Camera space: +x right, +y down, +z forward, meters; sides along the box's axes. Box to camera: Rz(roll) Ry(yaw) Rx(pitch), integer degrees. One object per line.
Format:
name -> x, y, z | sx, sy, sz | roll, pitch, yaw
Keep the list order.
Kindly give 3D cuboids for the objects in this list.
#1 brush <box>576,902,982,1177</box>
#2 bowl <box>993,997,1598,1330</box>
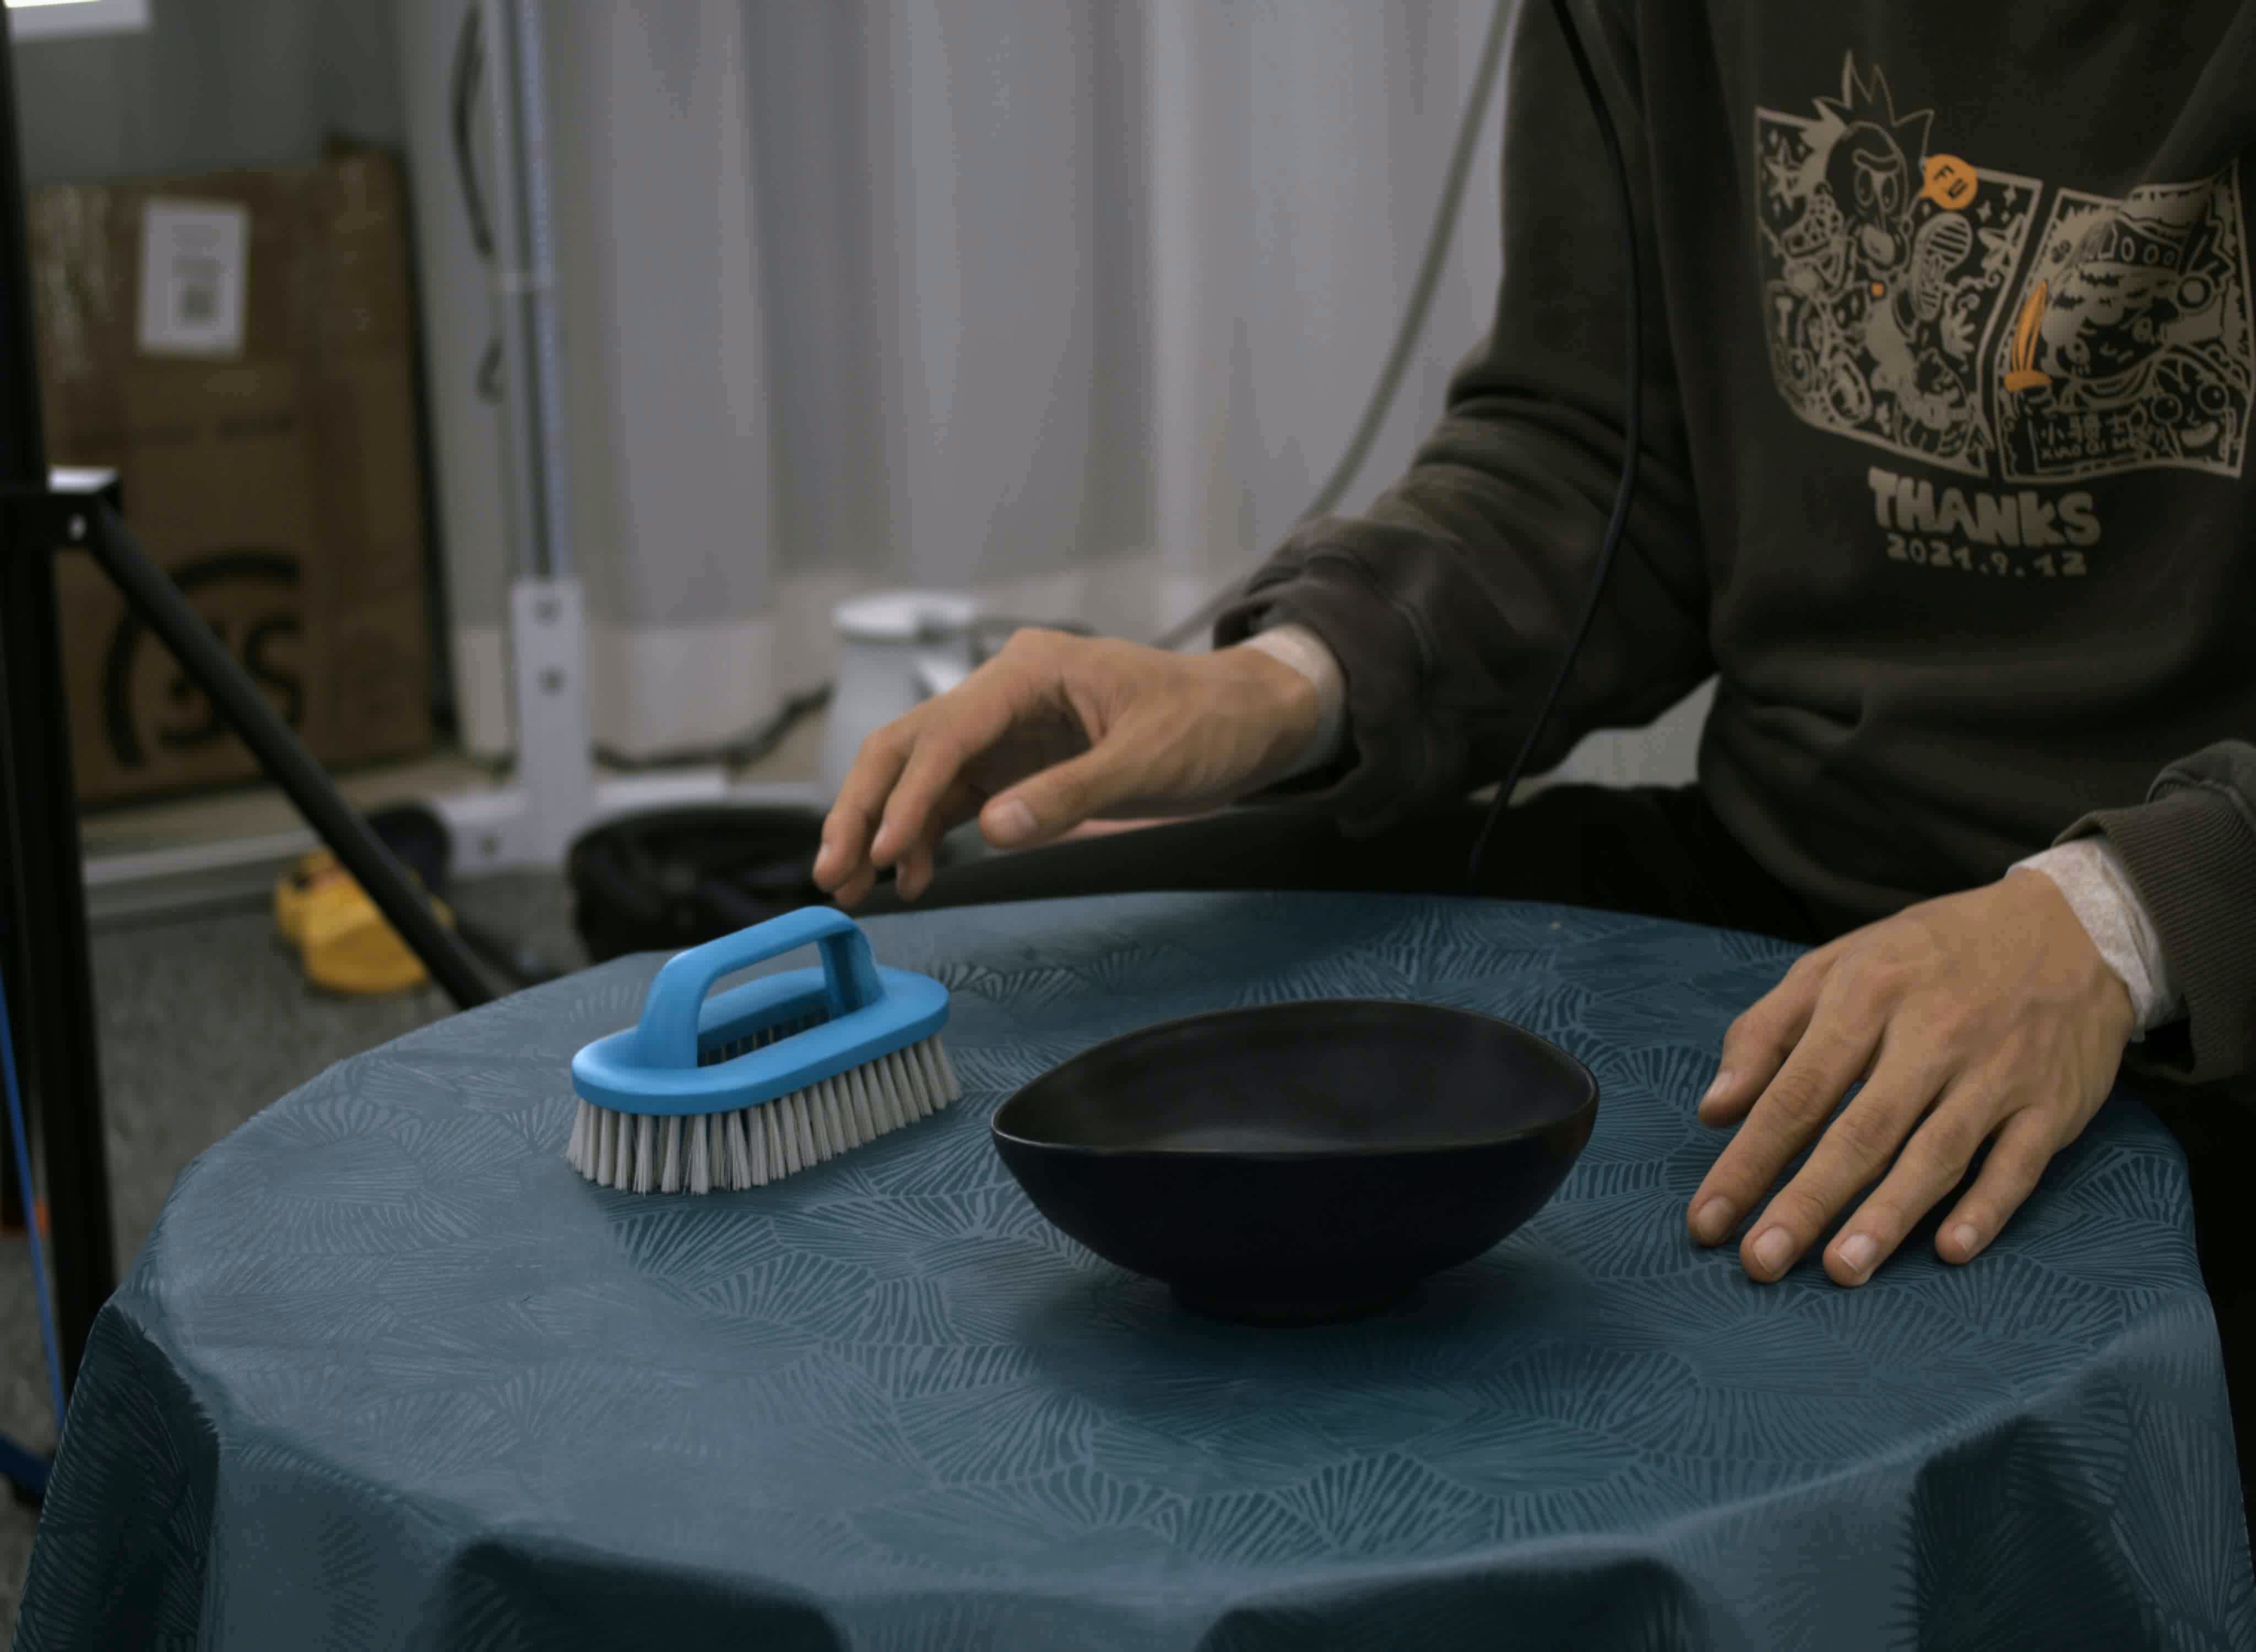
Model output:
brush -> -0.110, 0.060, 1.630 | 0.086, 0.064, 0.138 | 5, 16, 42
bowl -> 0.047, 0.099, 1.472 | 0.171, 0.067, 0.137 | -1, 15, 10
